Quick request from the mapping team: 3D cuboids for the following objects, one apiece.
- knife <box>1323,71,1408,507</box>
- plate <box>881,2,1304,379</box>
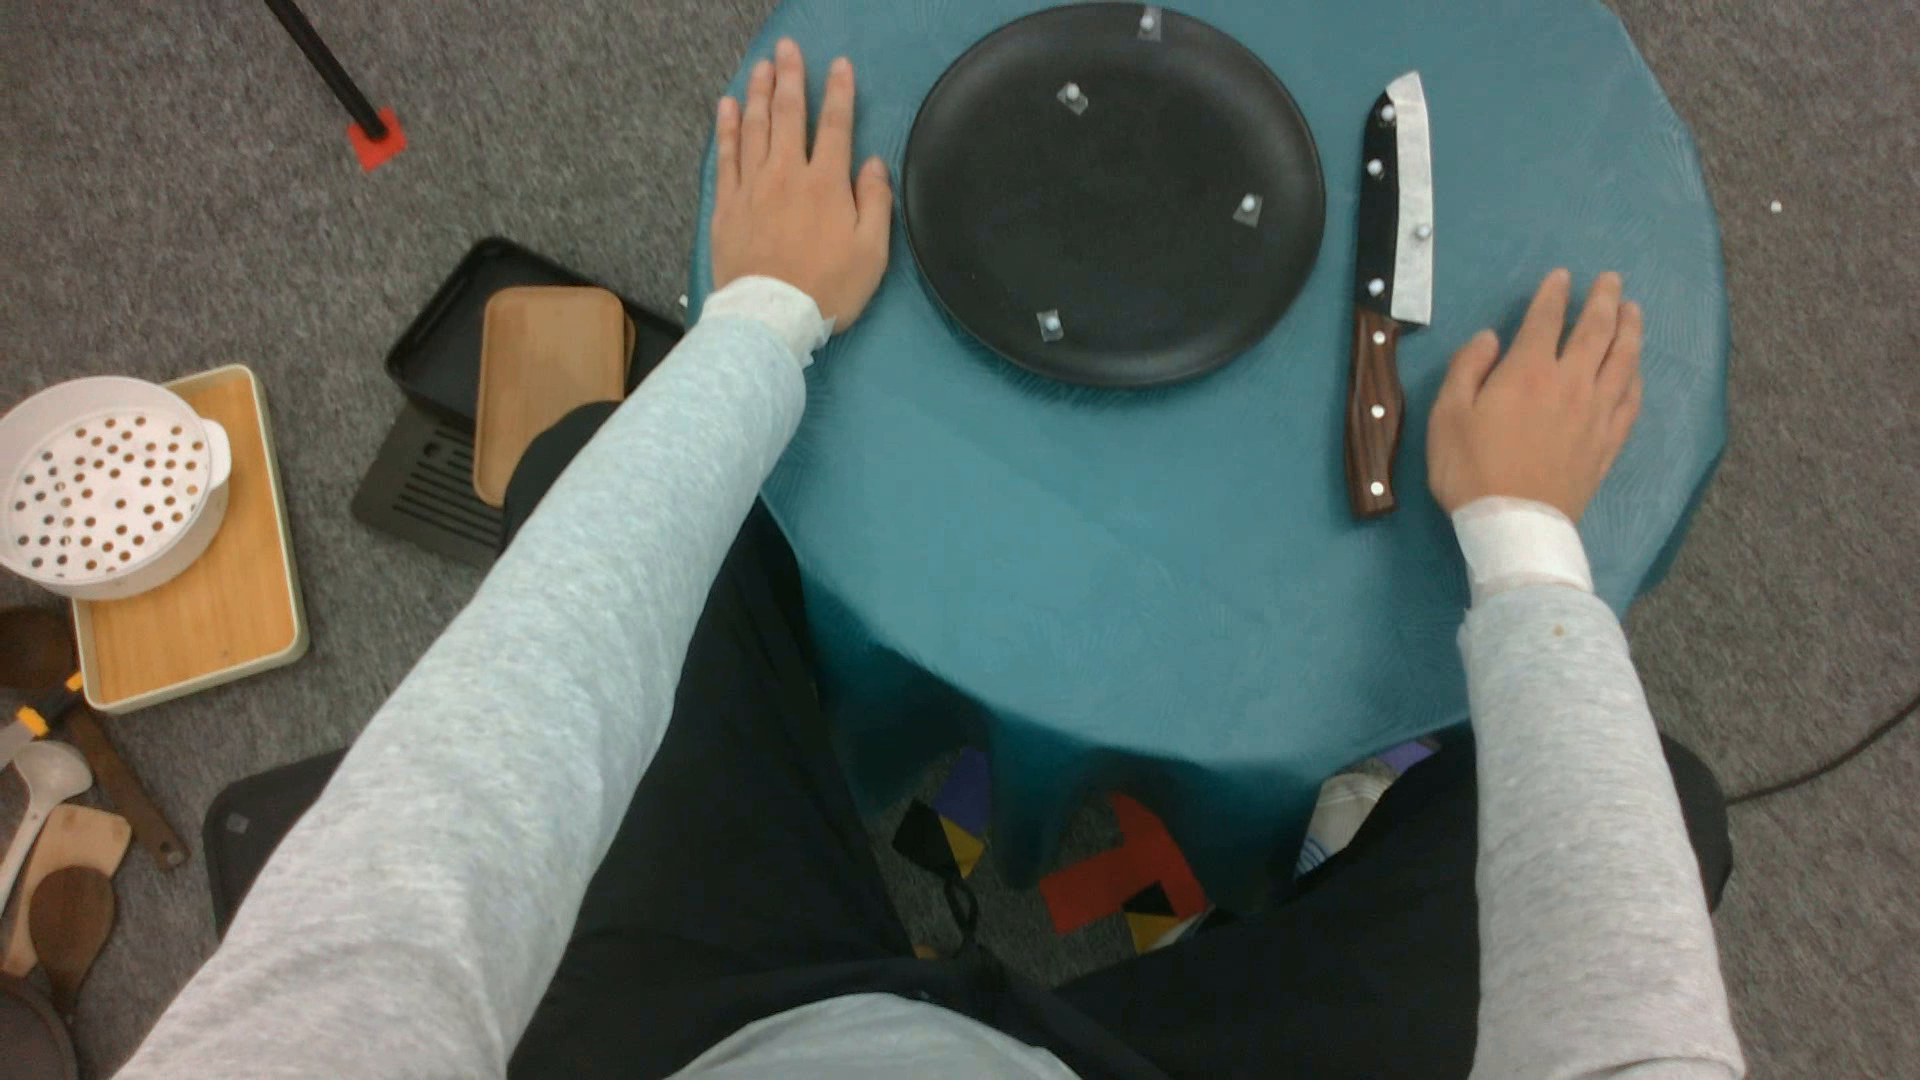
[{"bbox_3d":[0.234,-0.153,0.793,0.050,0.020,0.290,11,71,-4],"label":"knife"},{"bbox_3d":[0.076,-0.202,0.798,0.244,0.023,0.245,1,73,-2],"label":"plate"}]
